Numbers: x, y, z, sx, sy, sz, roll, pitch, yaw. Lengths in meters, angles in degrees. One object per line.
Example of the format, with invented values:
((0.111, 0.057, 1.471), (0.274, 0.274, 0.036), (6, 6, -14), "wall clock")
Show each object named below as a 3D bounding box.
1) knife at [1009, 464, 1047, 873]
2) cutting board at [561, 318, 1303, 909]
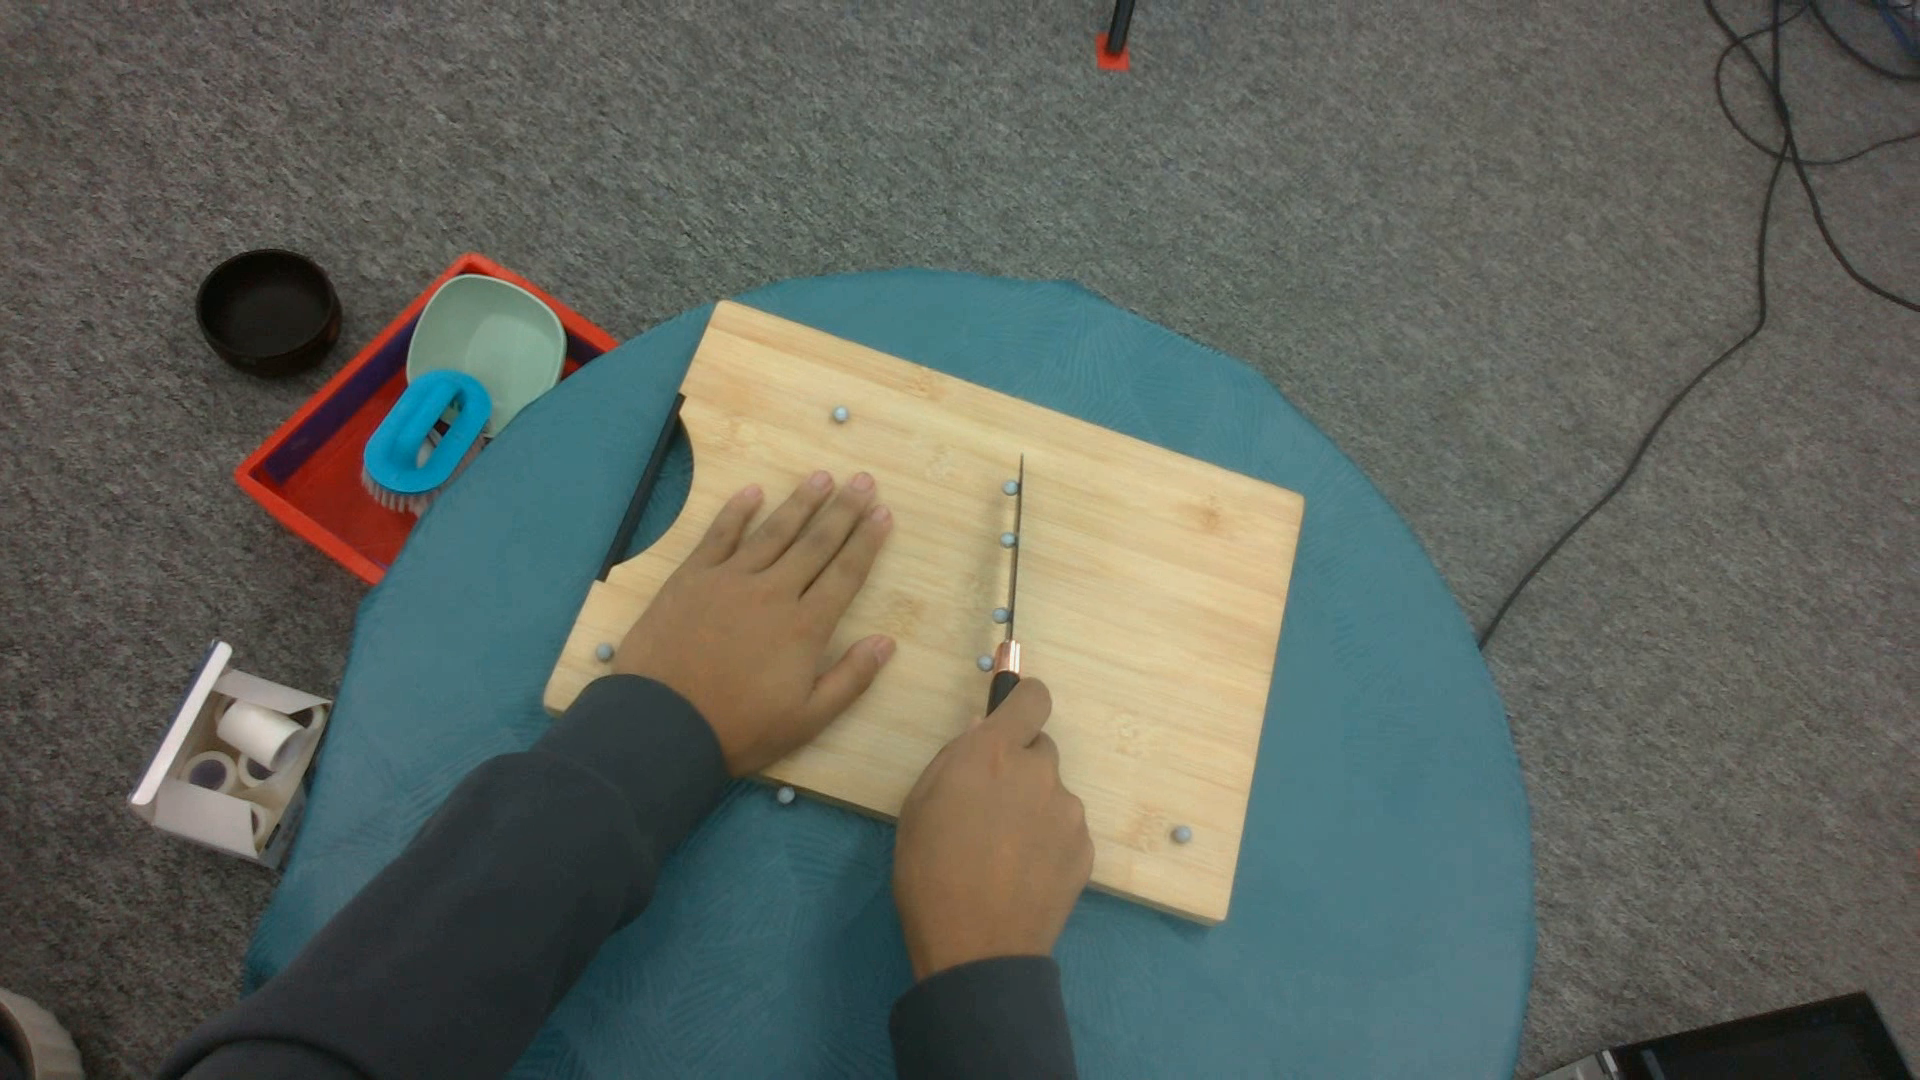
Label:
((0.032, 0.055, 0.685), (0.017, 0.026, 0.226), (2, 61, -4), "knife")
((0.000, 0.031, 0.722), (0.349, 0.023, 0.252), (14, 64, -2), "cutting board")
